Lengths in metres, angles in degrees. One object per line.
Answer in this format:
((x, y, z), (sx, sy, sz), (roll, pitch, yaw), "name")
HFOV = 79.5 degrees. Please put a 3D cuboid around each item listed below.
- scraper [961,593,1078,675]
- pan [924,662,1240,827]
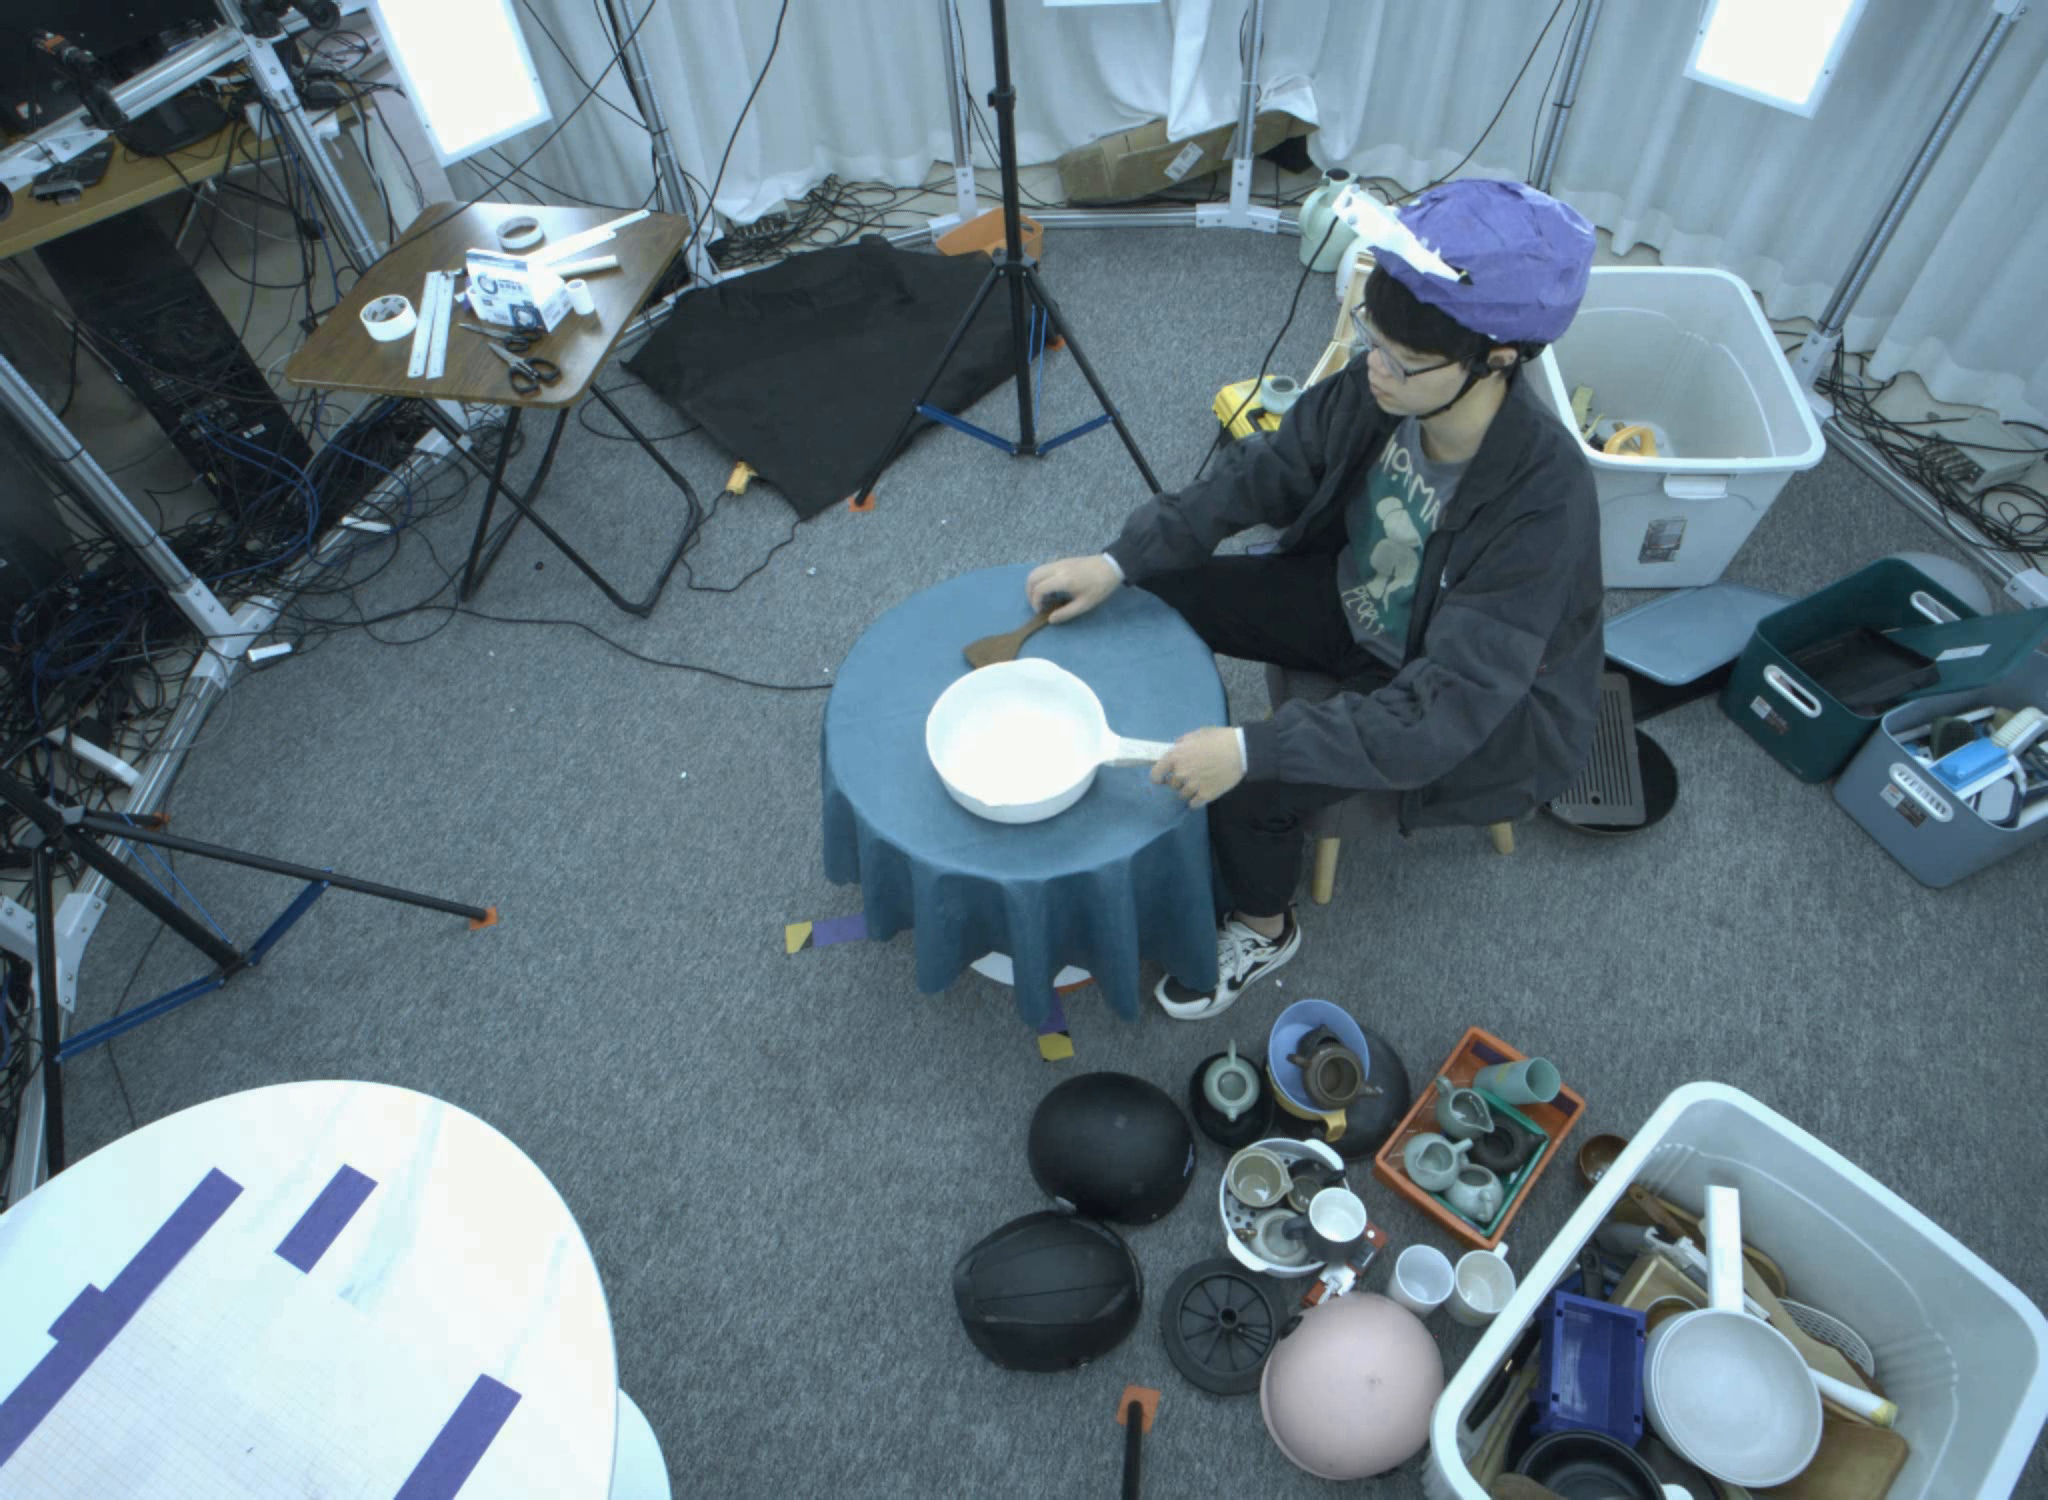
((0.000, -0.185, 1.905), (0.213, 0.011, 0.074), (-37, 66, -24), "scraper")
((0.078, 0.010, 1.709), (0.432, 0.103, 0.262), (10, 54, 9), "pan")
